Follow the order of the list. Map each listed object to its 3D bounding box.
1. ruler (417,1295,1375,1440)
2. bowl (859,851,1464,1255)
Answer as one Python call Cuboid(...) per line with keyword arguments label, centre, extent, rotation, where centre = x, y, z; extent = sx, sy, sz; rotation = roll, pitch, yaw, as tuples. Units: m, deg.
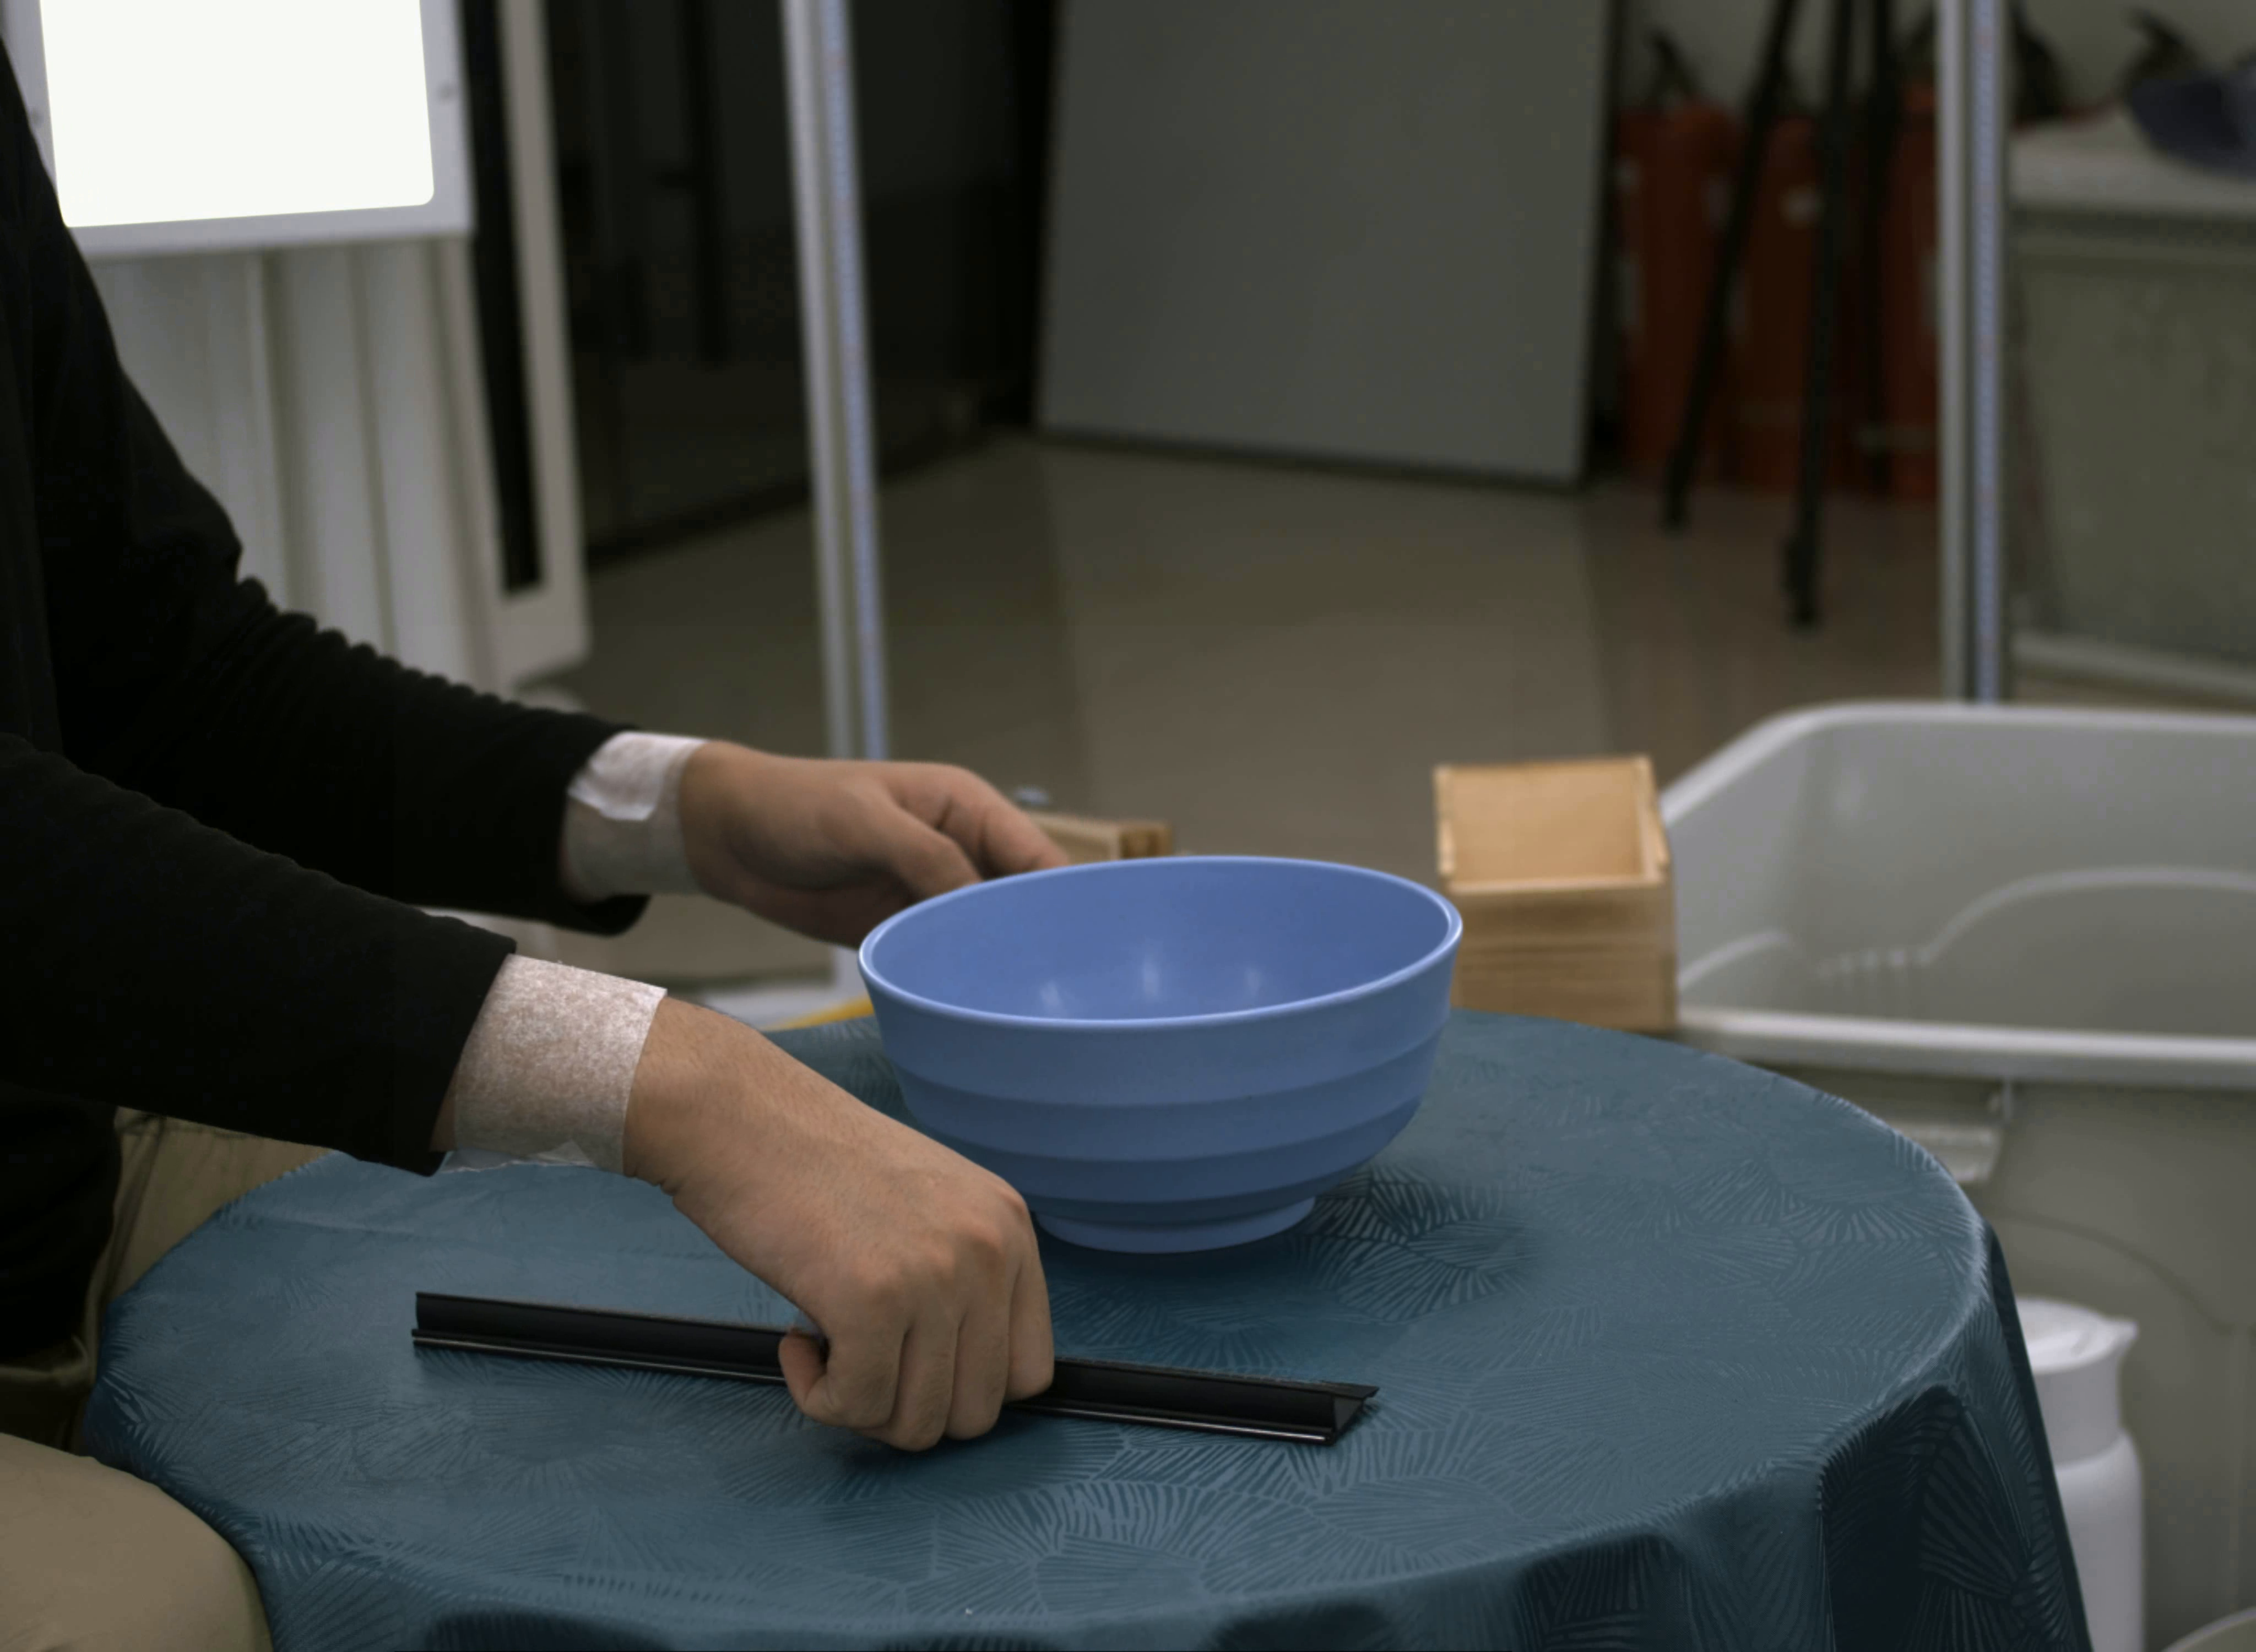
Cuboid(label="ruler", centre=(-0.073, 0.156, 1.613), extent=(0.313, 0.017, 0.039), rotation=(3, 15, 27))
Cuboid(label="bowl", centre=(0.013, 0.079, 1.737), extent=(0.194, 0.096, 0.197), rotation=(-3, 14, 0))
